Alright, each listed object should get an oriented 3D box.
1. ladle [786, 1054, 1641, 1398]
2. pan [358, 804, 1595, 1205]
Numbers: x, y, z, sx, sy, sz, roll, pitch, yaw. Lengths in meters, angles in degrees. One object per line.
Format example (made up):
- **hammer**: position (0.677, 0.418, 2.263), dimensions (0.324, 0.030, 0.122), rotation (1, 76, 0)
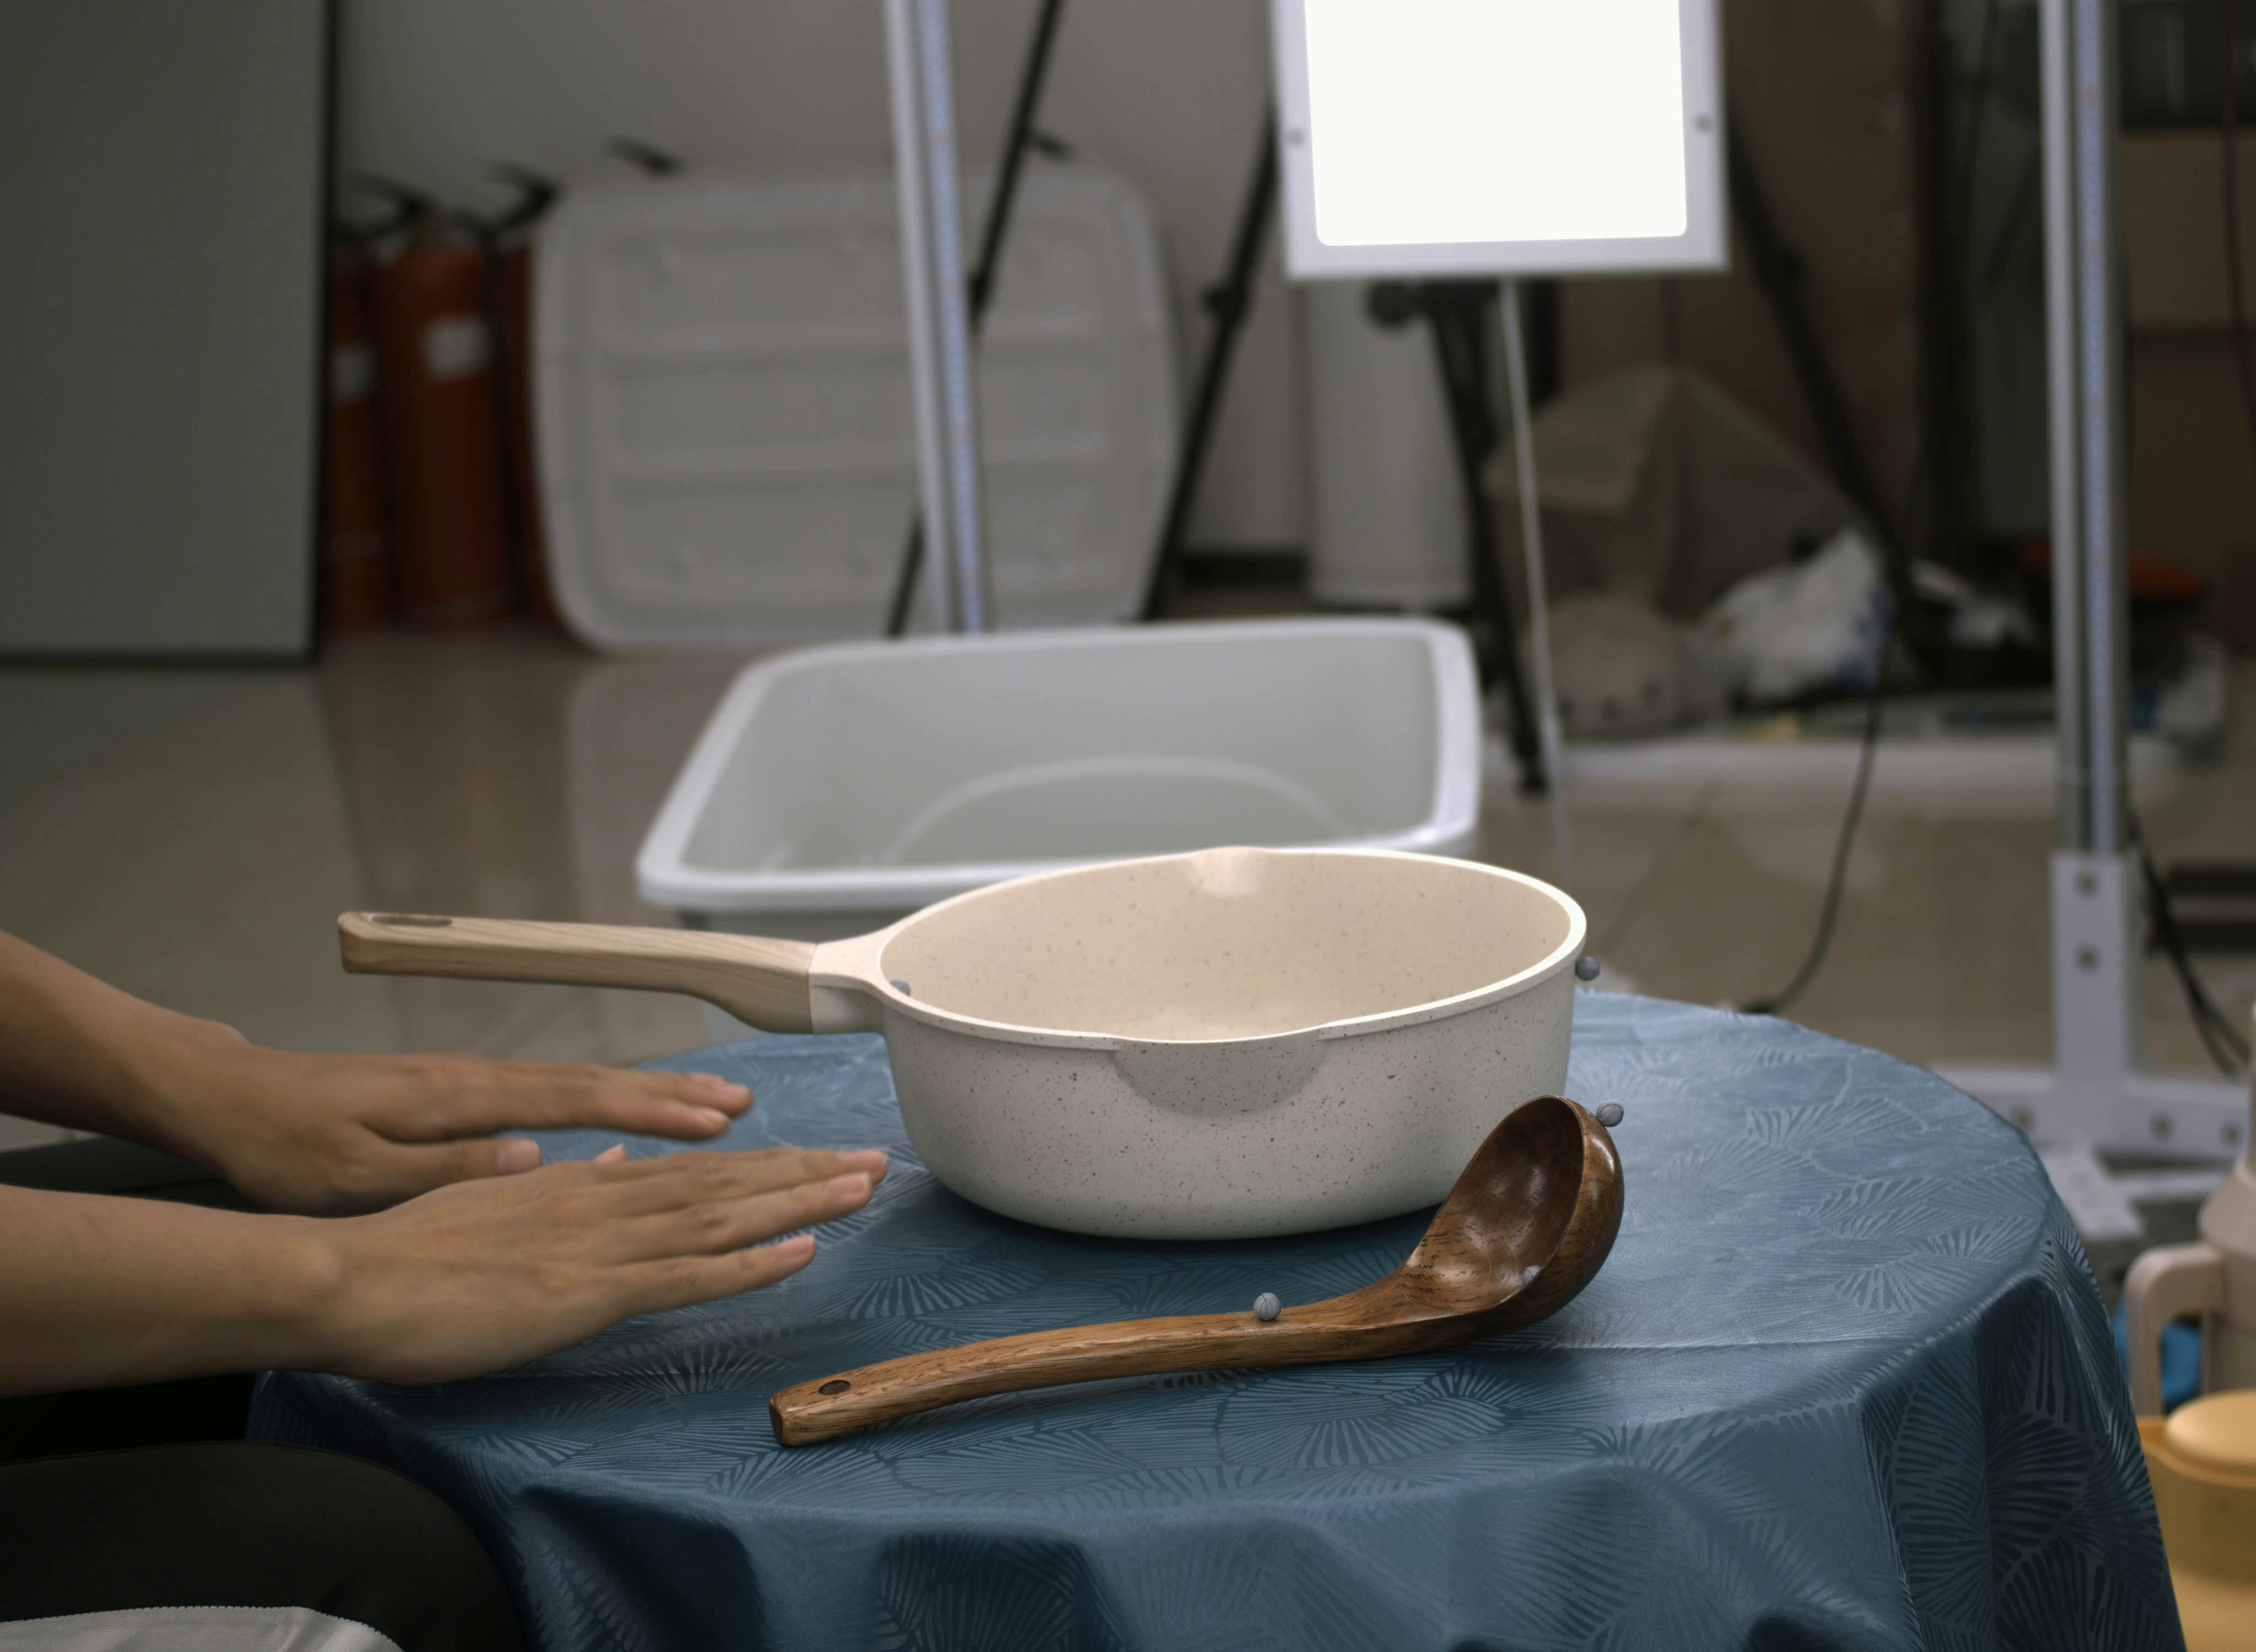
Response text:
- **ladle**: position (0.027, 0.123, 1.706), dimensions (0.271, 0.077, 0.082), rotation (-7, 16, -9)
- **pan**: position (-0.051, 0.063, 1.941), dimensions (0.435, 0.102, 0.262), rotation (-4, 15, 5)
